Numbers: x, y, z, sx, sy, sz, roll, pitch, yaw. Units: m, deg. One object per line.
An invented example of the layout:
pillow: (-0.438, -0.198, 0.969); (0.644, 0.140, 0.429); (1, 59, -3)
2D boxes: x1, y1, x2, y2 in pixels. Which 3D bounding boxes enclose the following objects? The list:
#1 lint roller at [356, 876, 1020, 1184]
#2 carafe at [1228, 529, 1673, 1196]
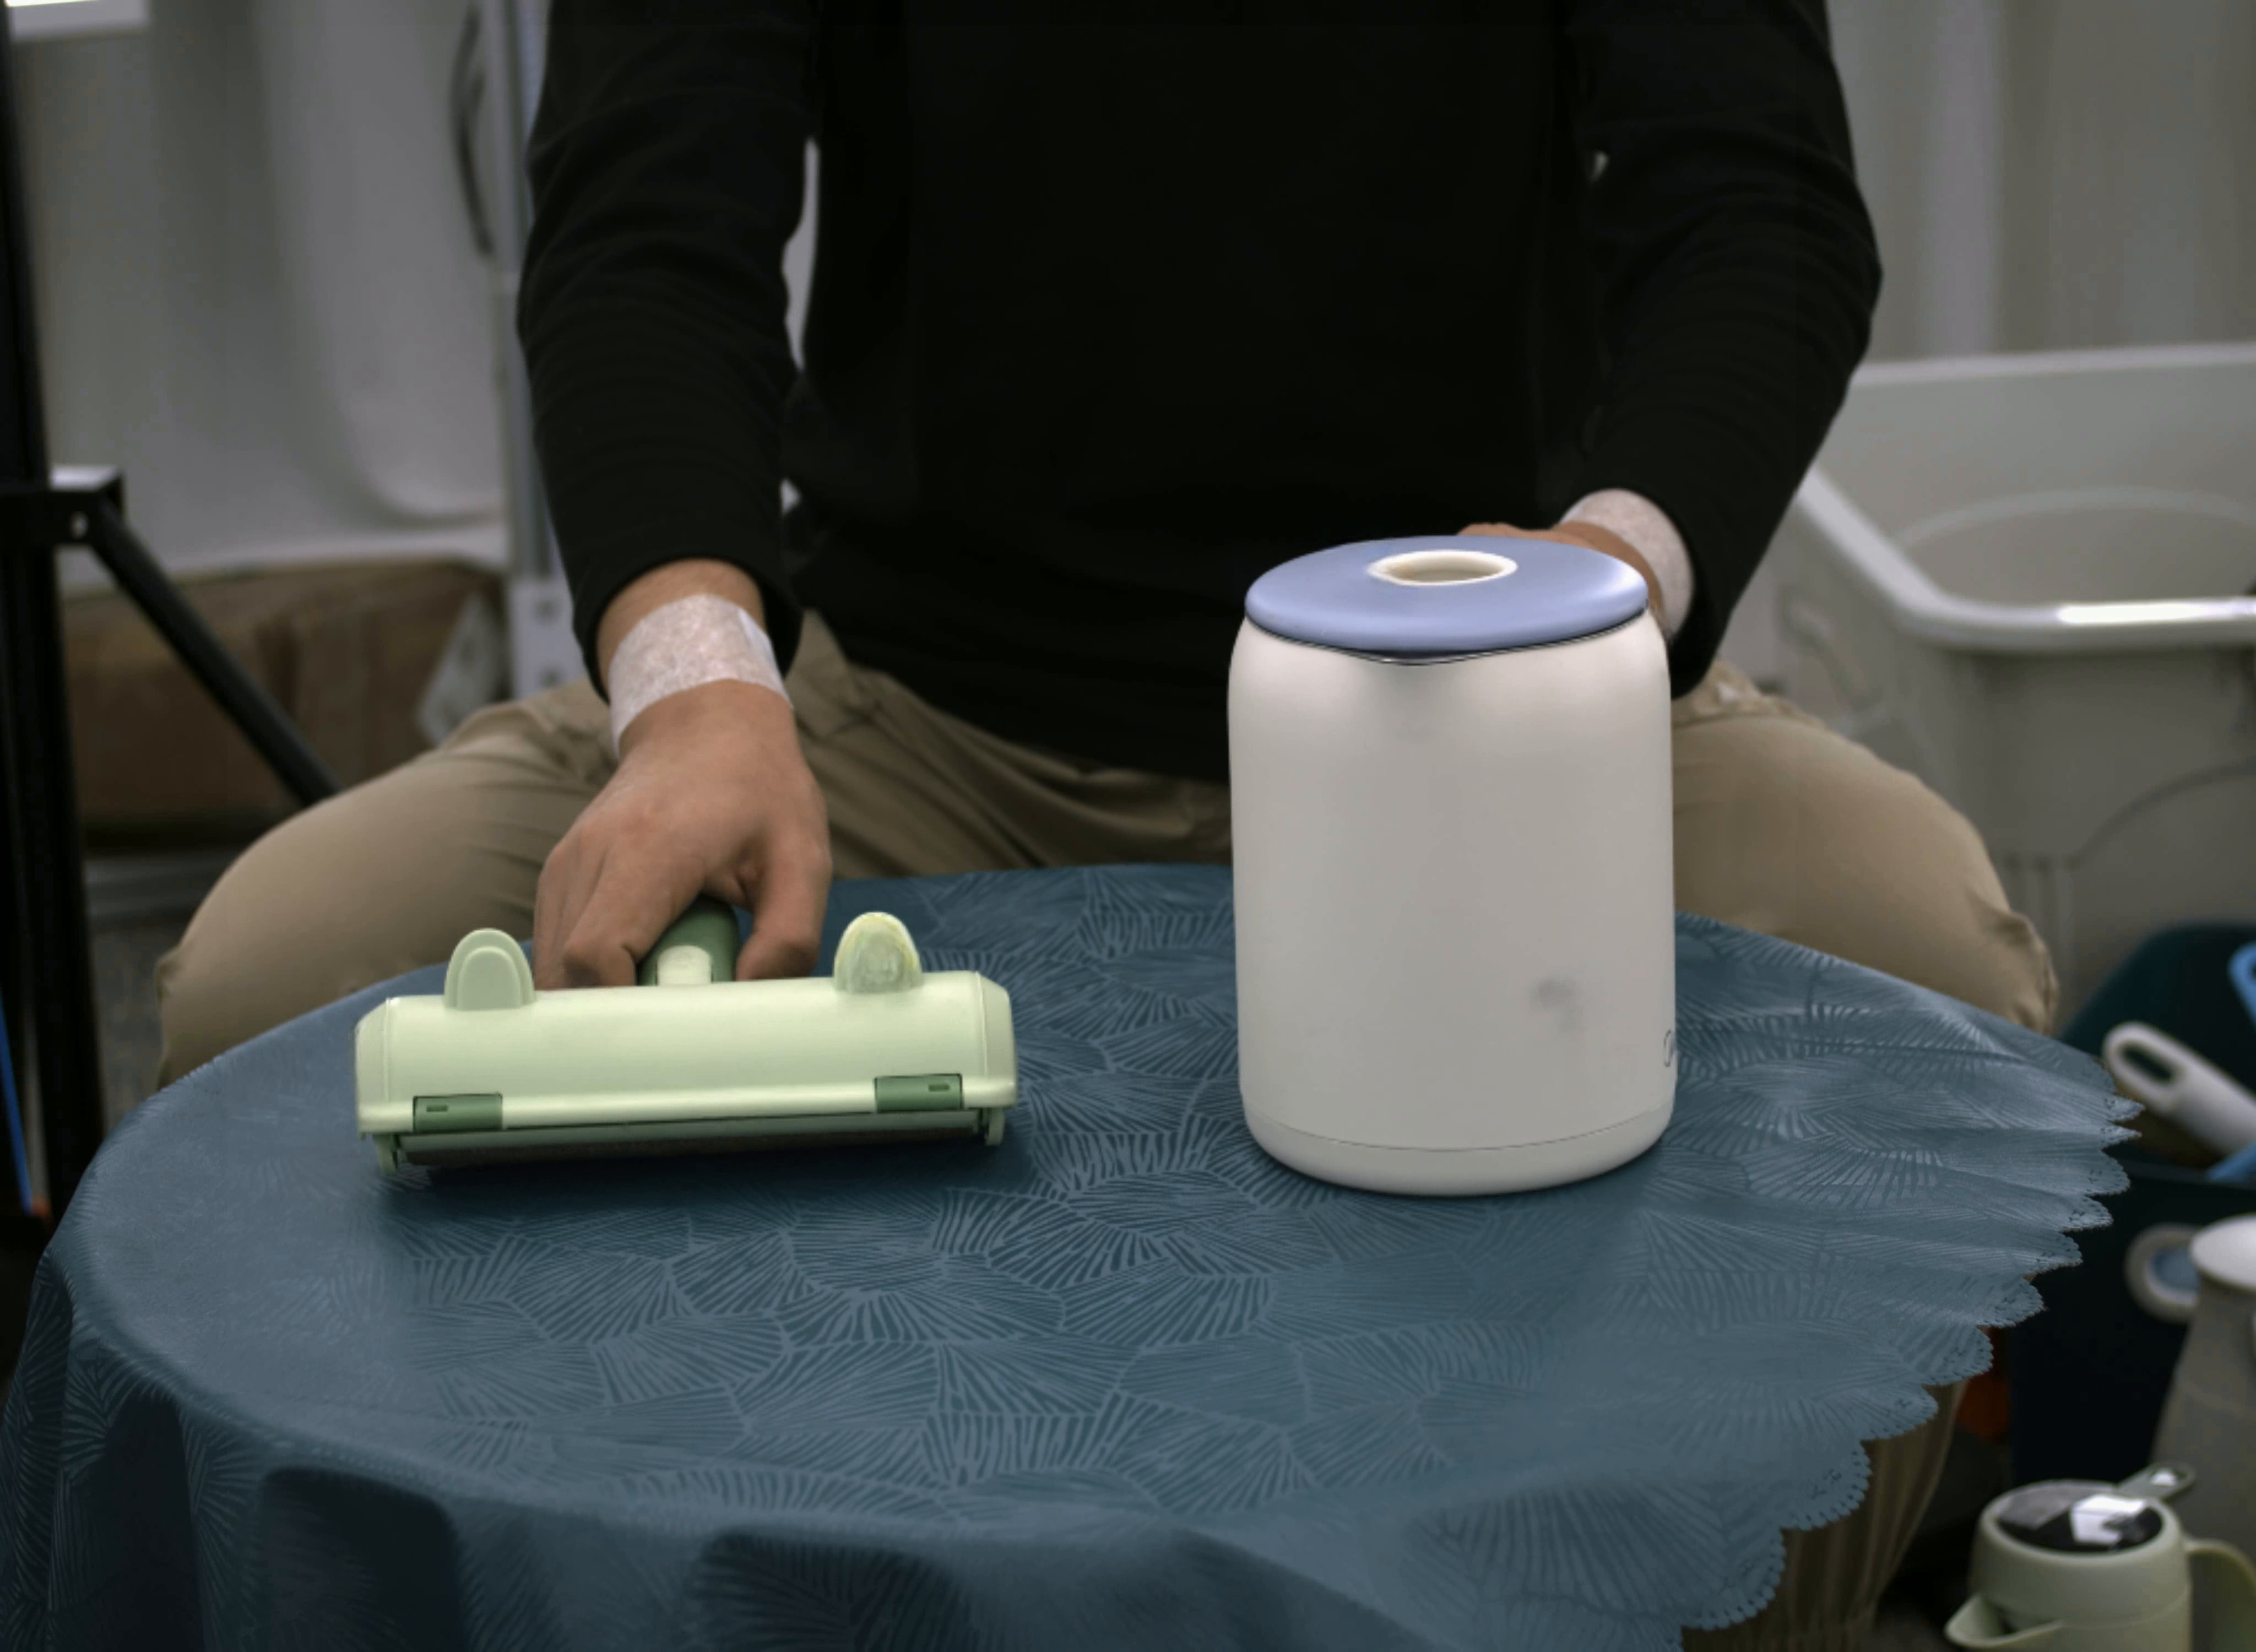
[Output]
lint roller: (-0.136, 0.041, 1.642); (0.197, 0.082, 0.185); (-2, 30, -3)
carafe: (0.100, 0.004, 1.594); (0.133, 0.182, 0.190); (1, 14, 11)
